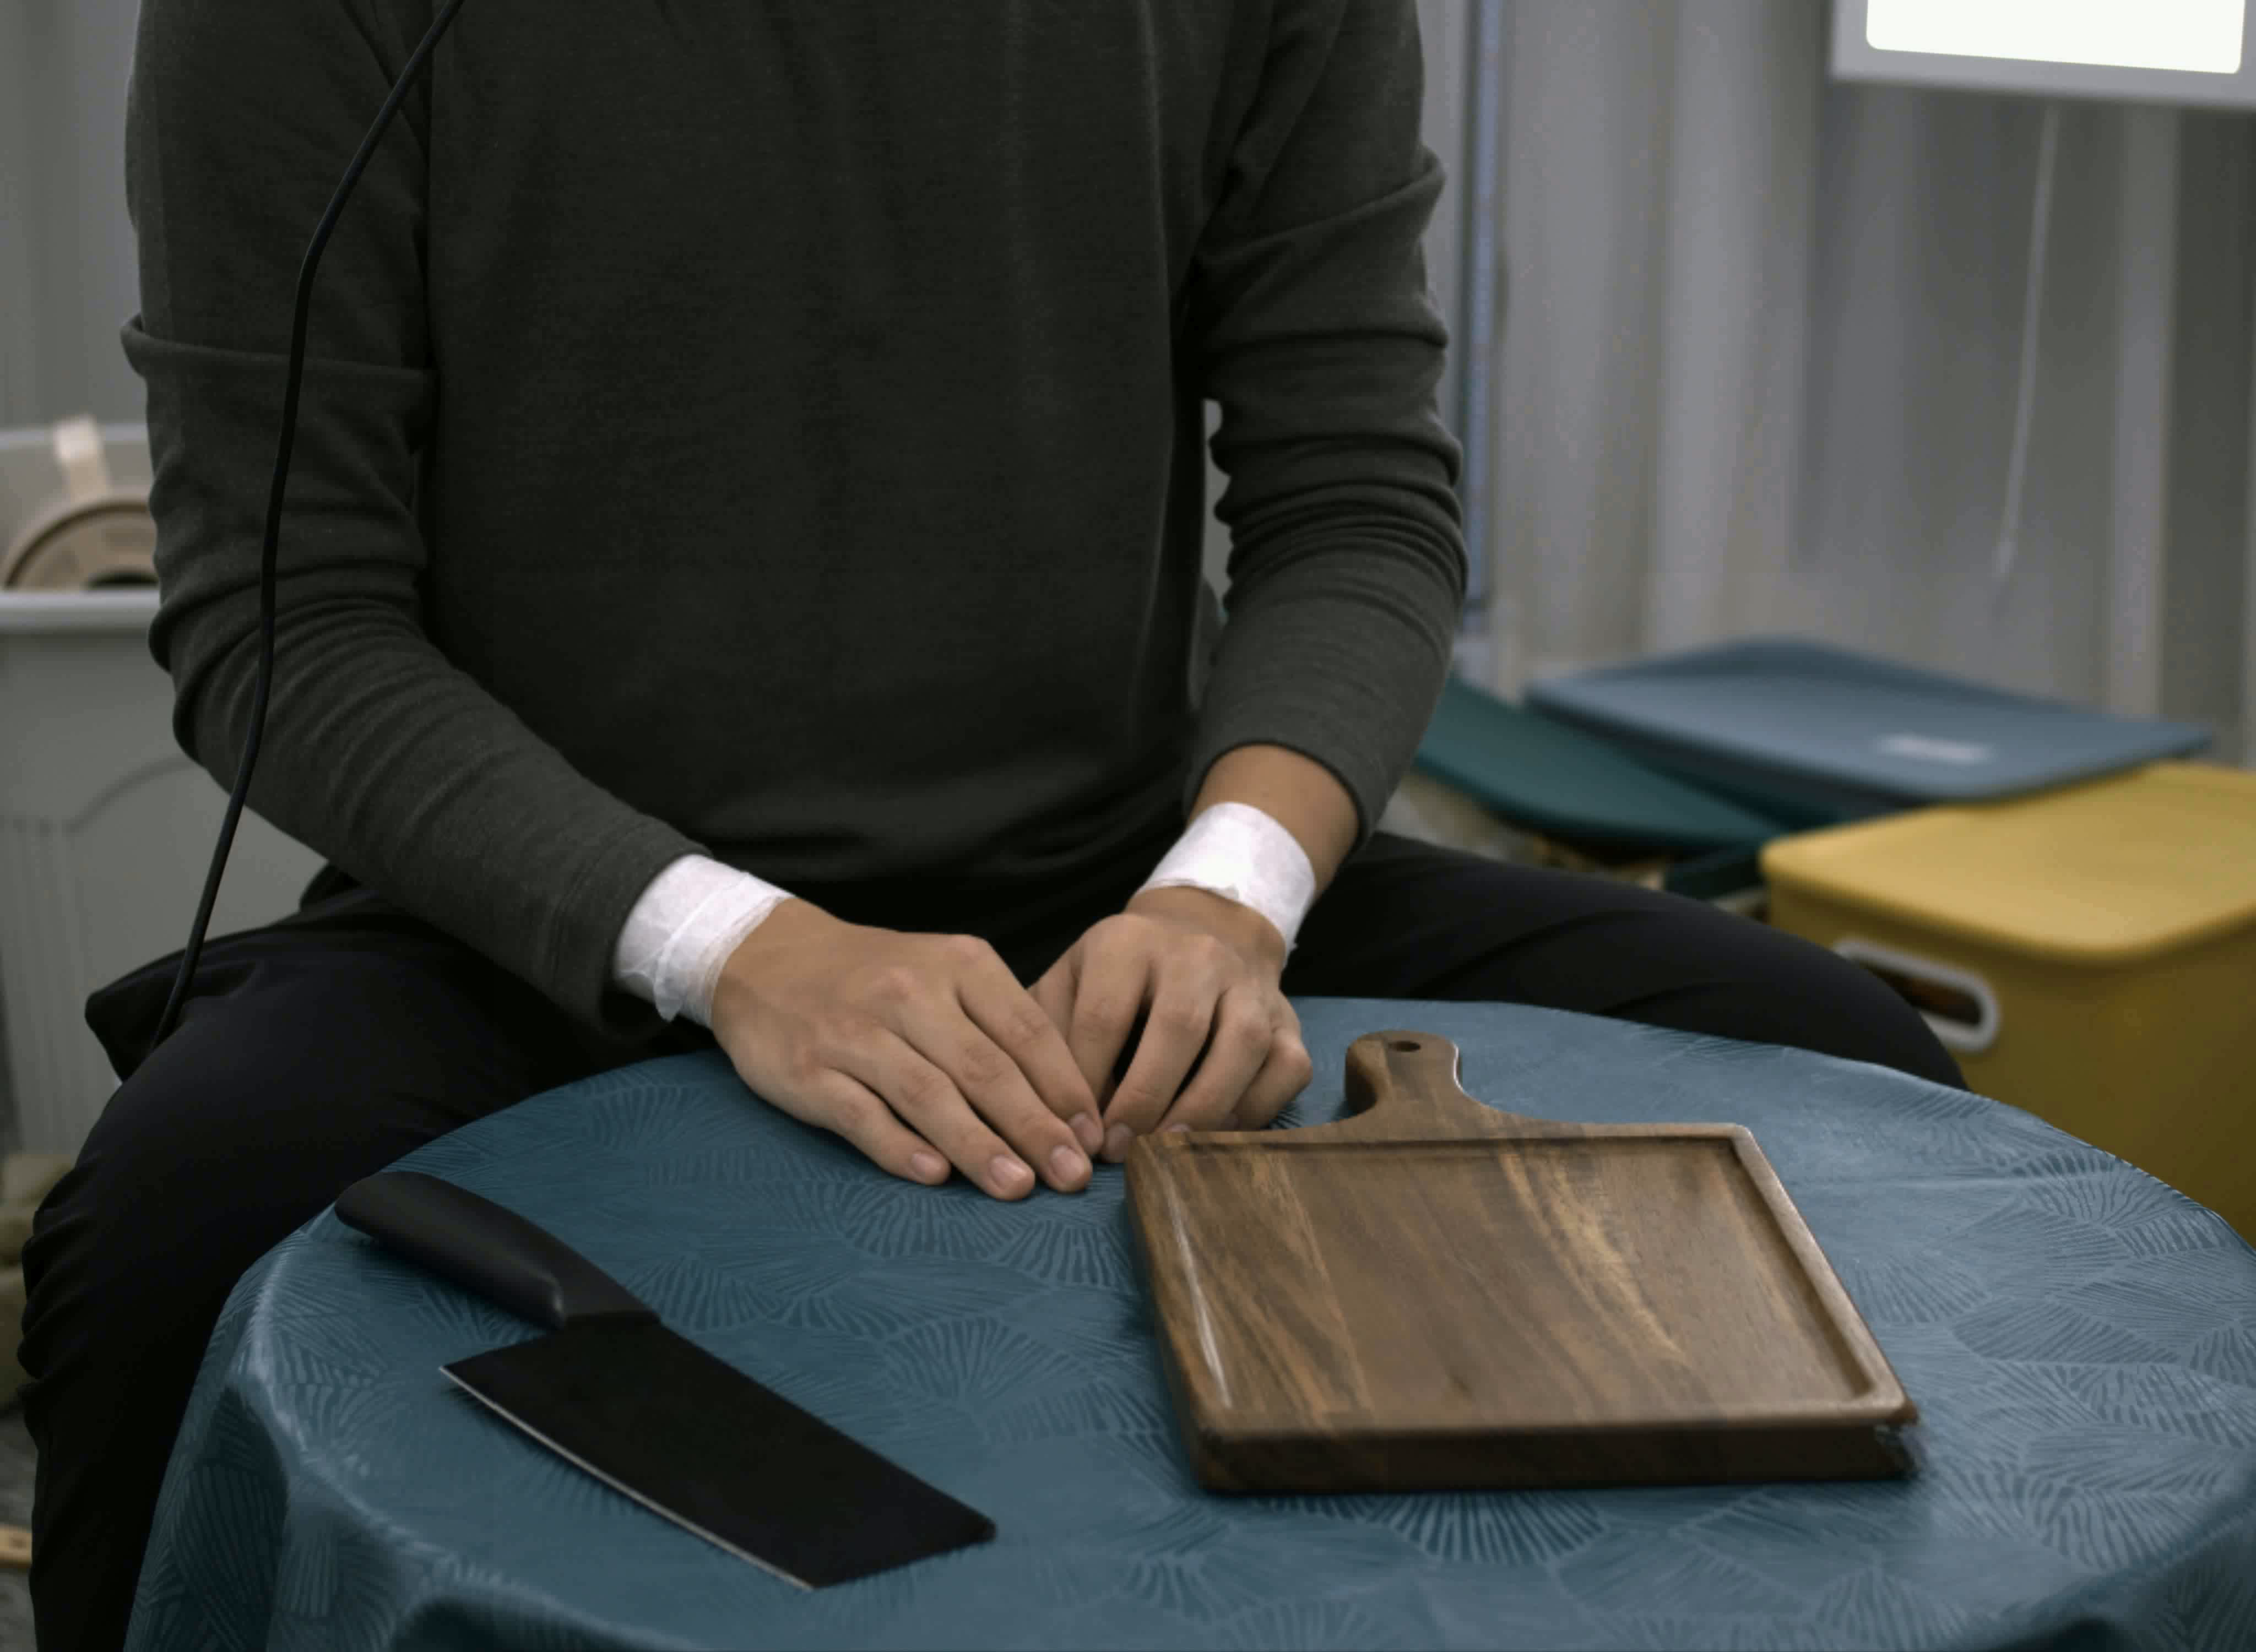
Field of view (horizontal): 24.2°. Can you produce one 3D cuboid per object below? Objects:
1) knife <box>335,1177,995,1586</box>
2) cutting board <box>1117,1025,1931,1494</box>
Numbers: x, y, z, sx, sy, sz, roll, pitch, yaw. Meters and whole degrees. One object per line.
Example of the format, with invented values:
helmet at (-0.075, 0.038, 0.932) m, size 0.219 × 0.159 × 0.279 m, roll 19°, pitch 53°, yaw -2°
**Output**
knife at (-0.144, 0.151, 1.455) m, size 0.081 × 0.021 × 0.298 m, roll -10°, pitch 20°, yaw -31°
cutting board at (0.102, 0.120, 1.559) m, size 0.201 × 0.023 × 0.349 m, roll 0°, pitch 15°, yaw -5°
